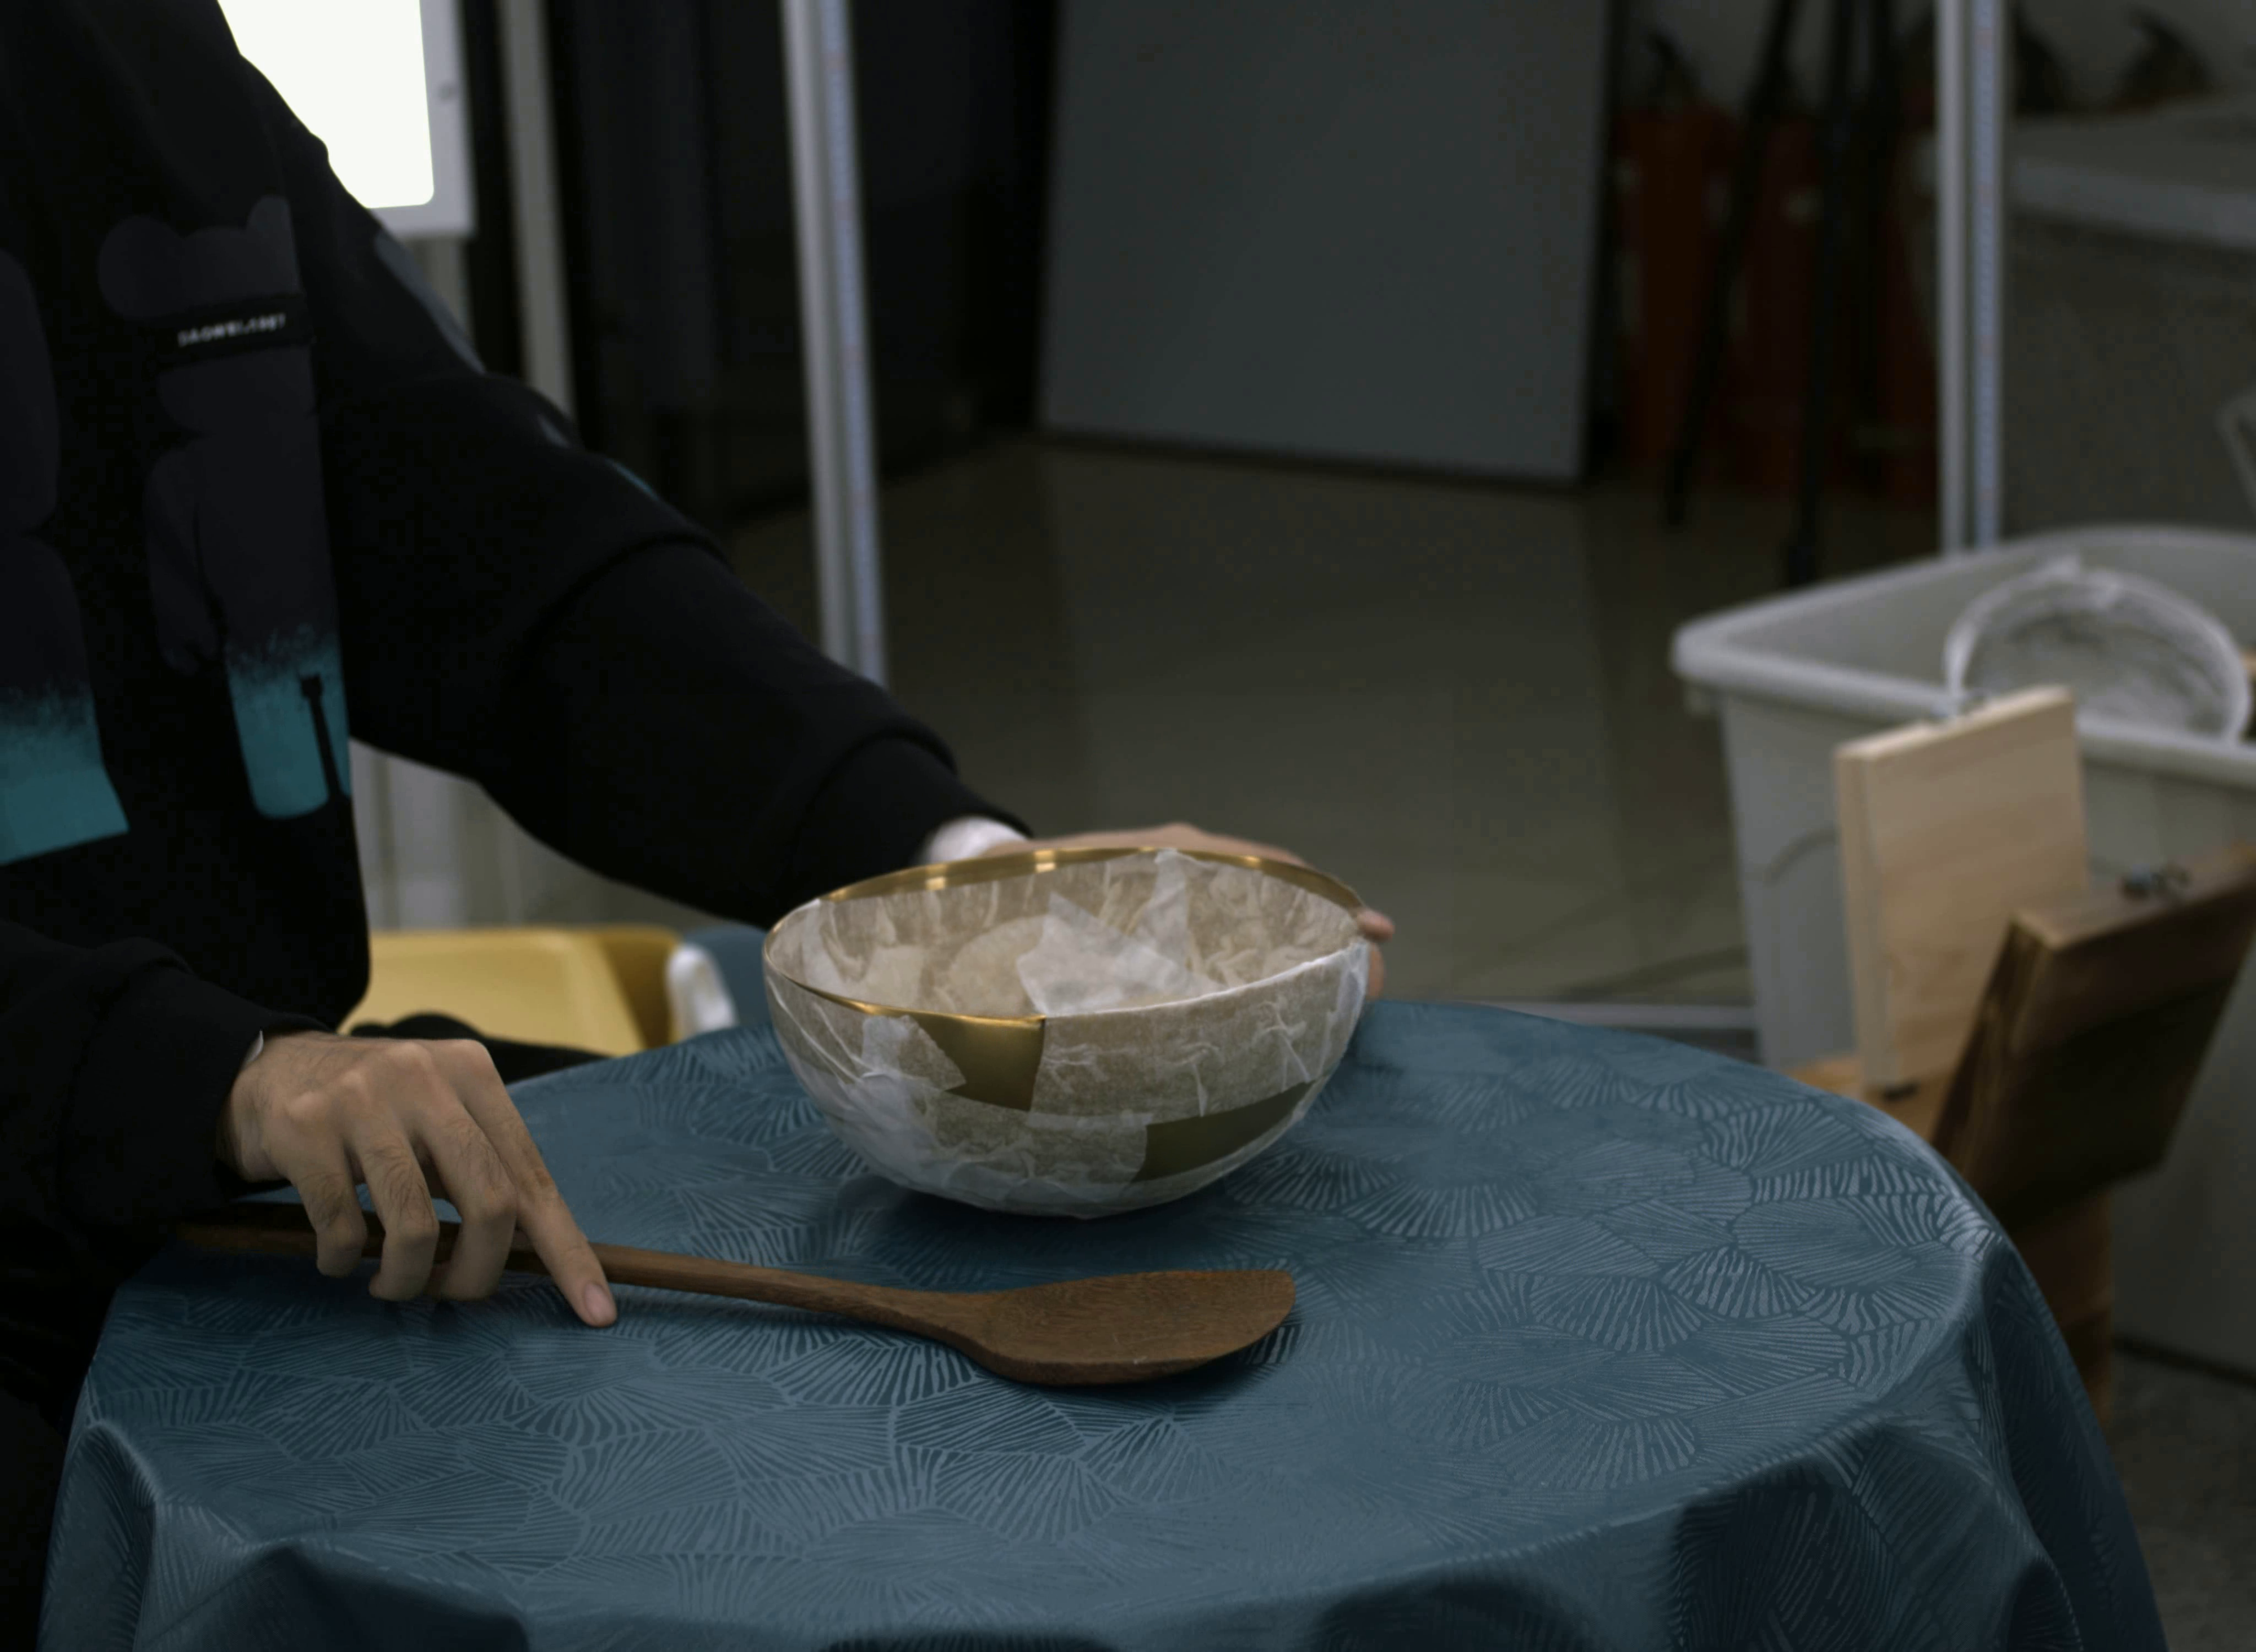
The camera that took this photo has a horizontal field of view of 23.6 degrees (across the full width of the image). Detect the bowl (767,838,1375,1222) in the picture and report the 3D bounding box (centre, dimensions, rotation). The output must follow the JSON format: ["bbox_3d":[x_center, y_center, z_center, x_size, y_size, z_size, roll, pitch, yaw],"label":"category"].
[{"bbox_3d":[-0.017,0.074,1.771,0.212,0.095,0.215,-5,15,0],"label":"bowl"}]

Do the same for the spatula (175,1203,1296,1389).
[{"bbox_3d":[-0.132,0.142,1.681,0.386,0.016,0.095,4,15,24],"label":"spatula"}]
